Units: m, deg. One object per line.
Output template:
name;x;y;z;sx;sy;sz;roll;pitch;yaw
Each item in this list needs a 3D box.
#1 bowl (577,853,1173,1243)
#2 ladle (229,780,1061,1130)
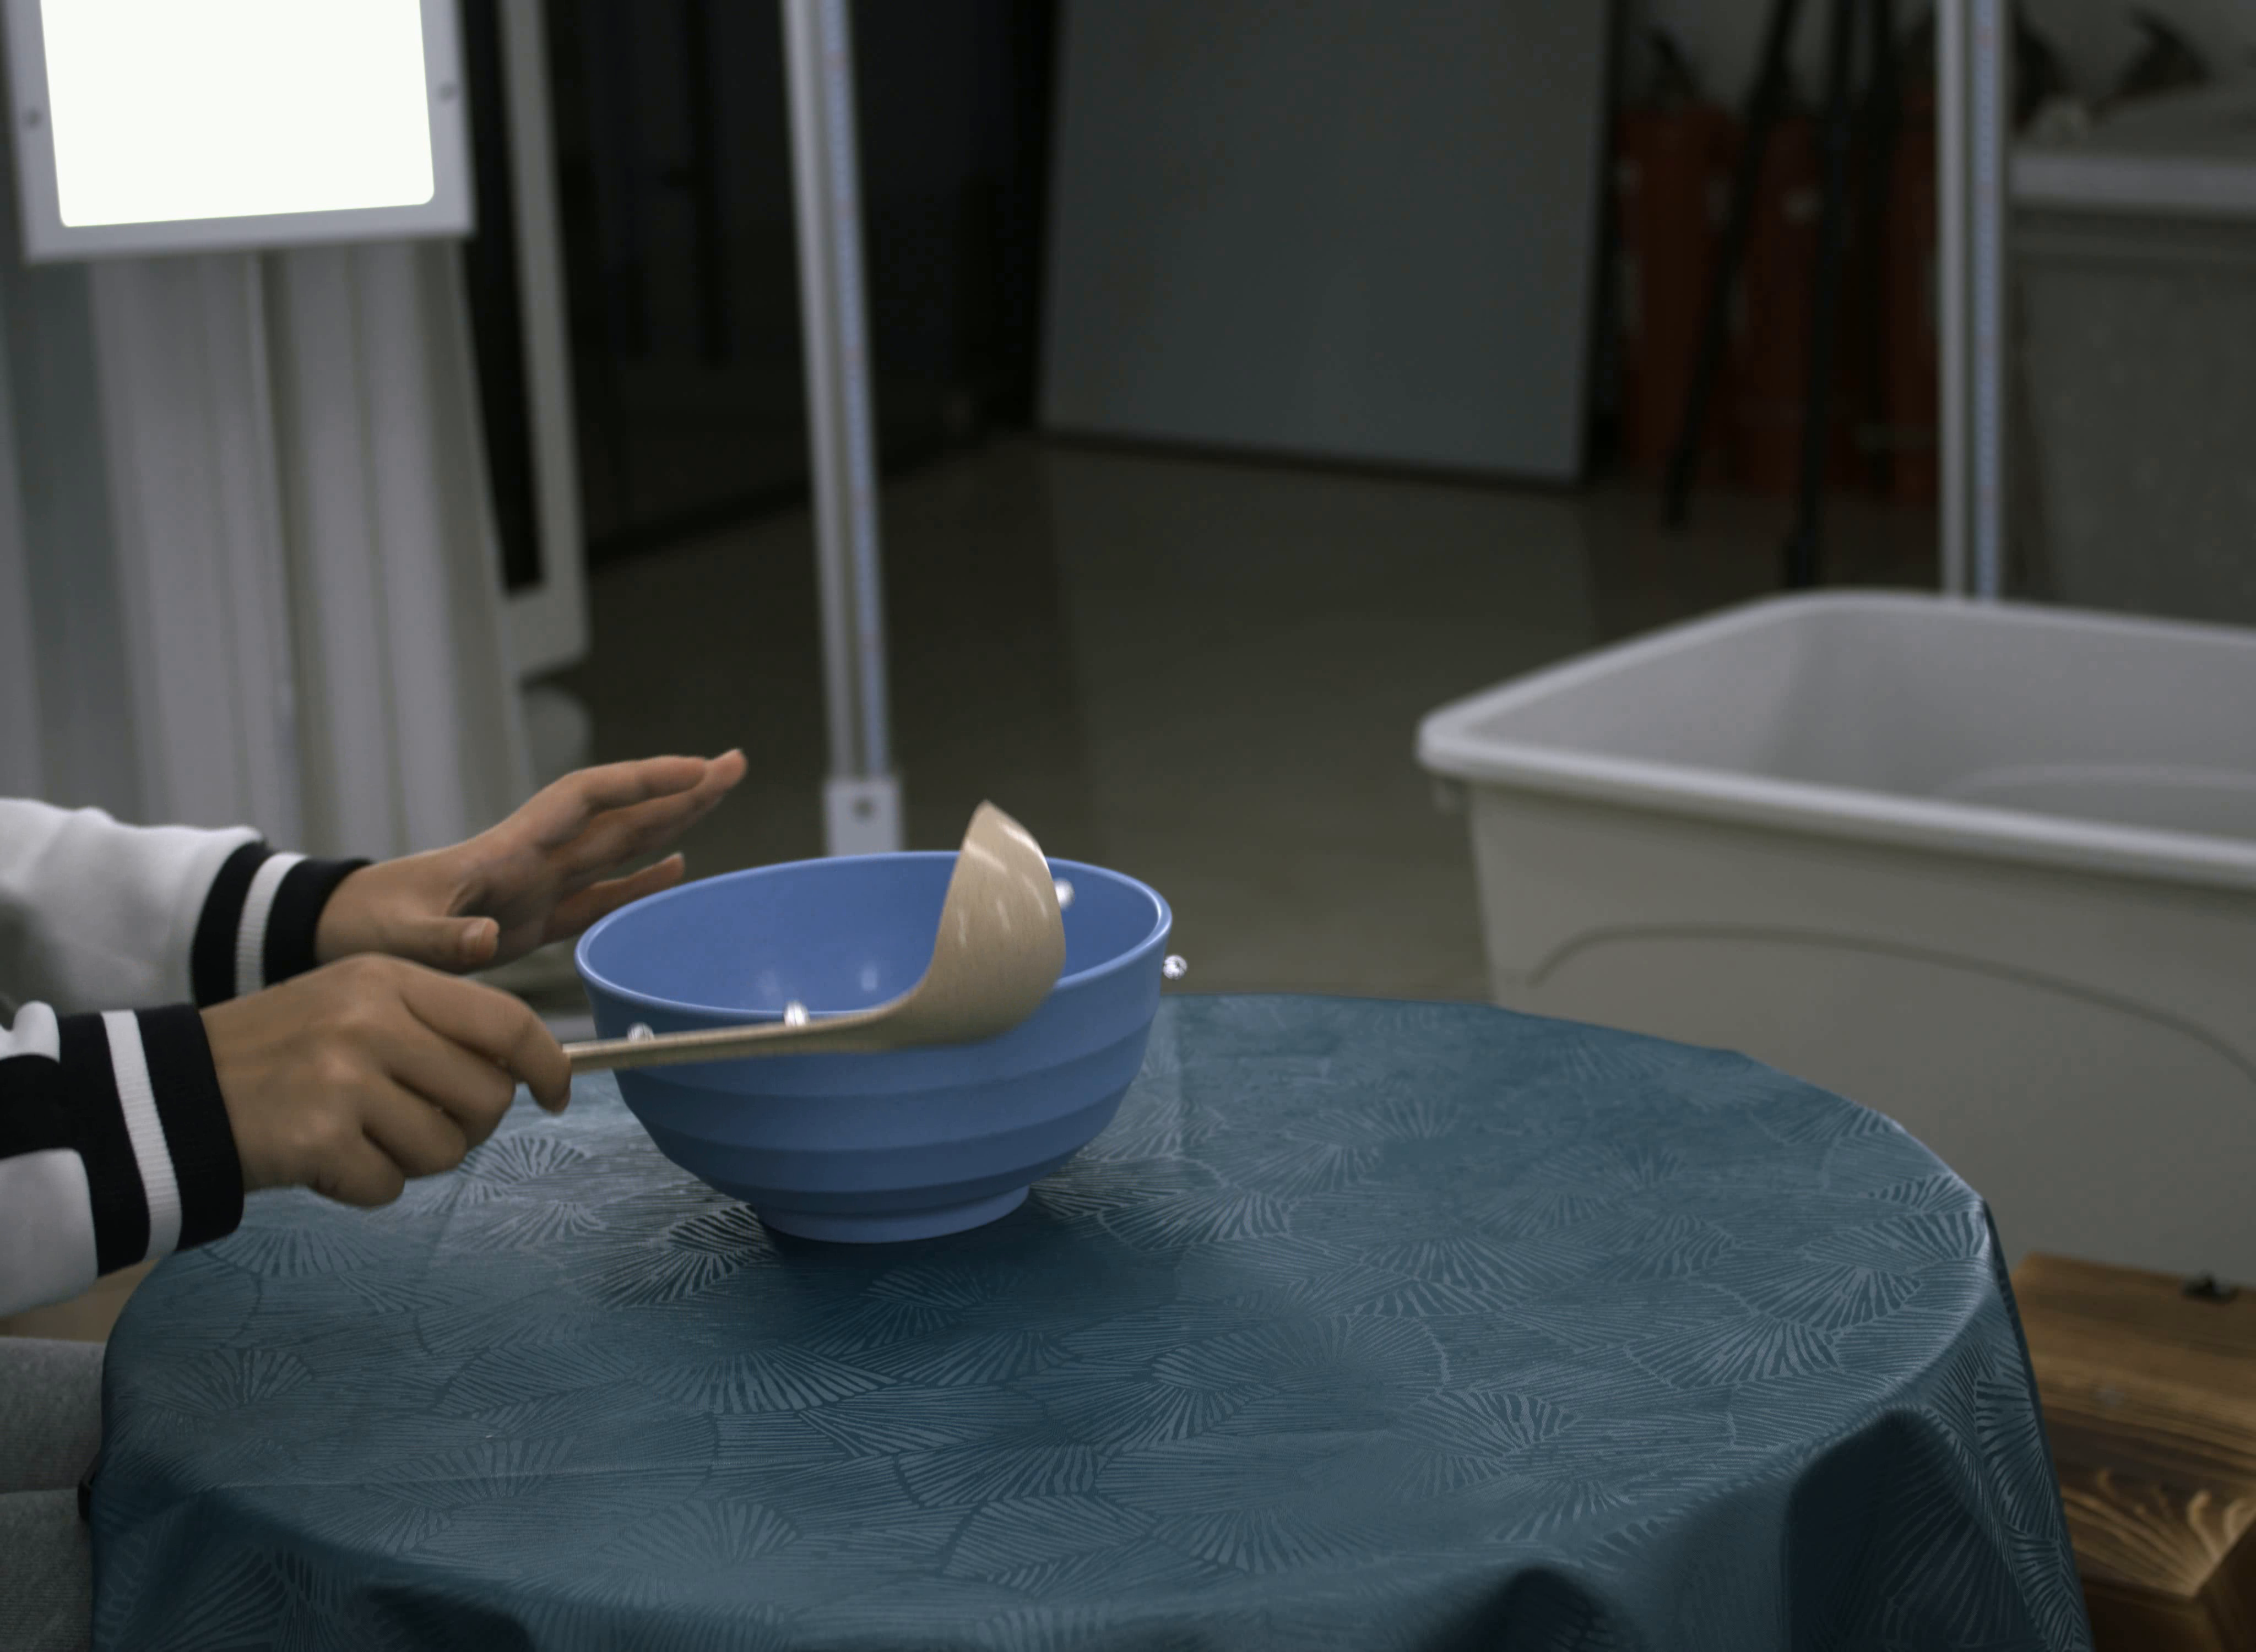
bowl;-0.081;0.077;1.767;0.194;0.096;0.197;-1;13;-1
ladle;-0.146;0.039;1.614;0.250;0.072;0.074;-9;55;-7
